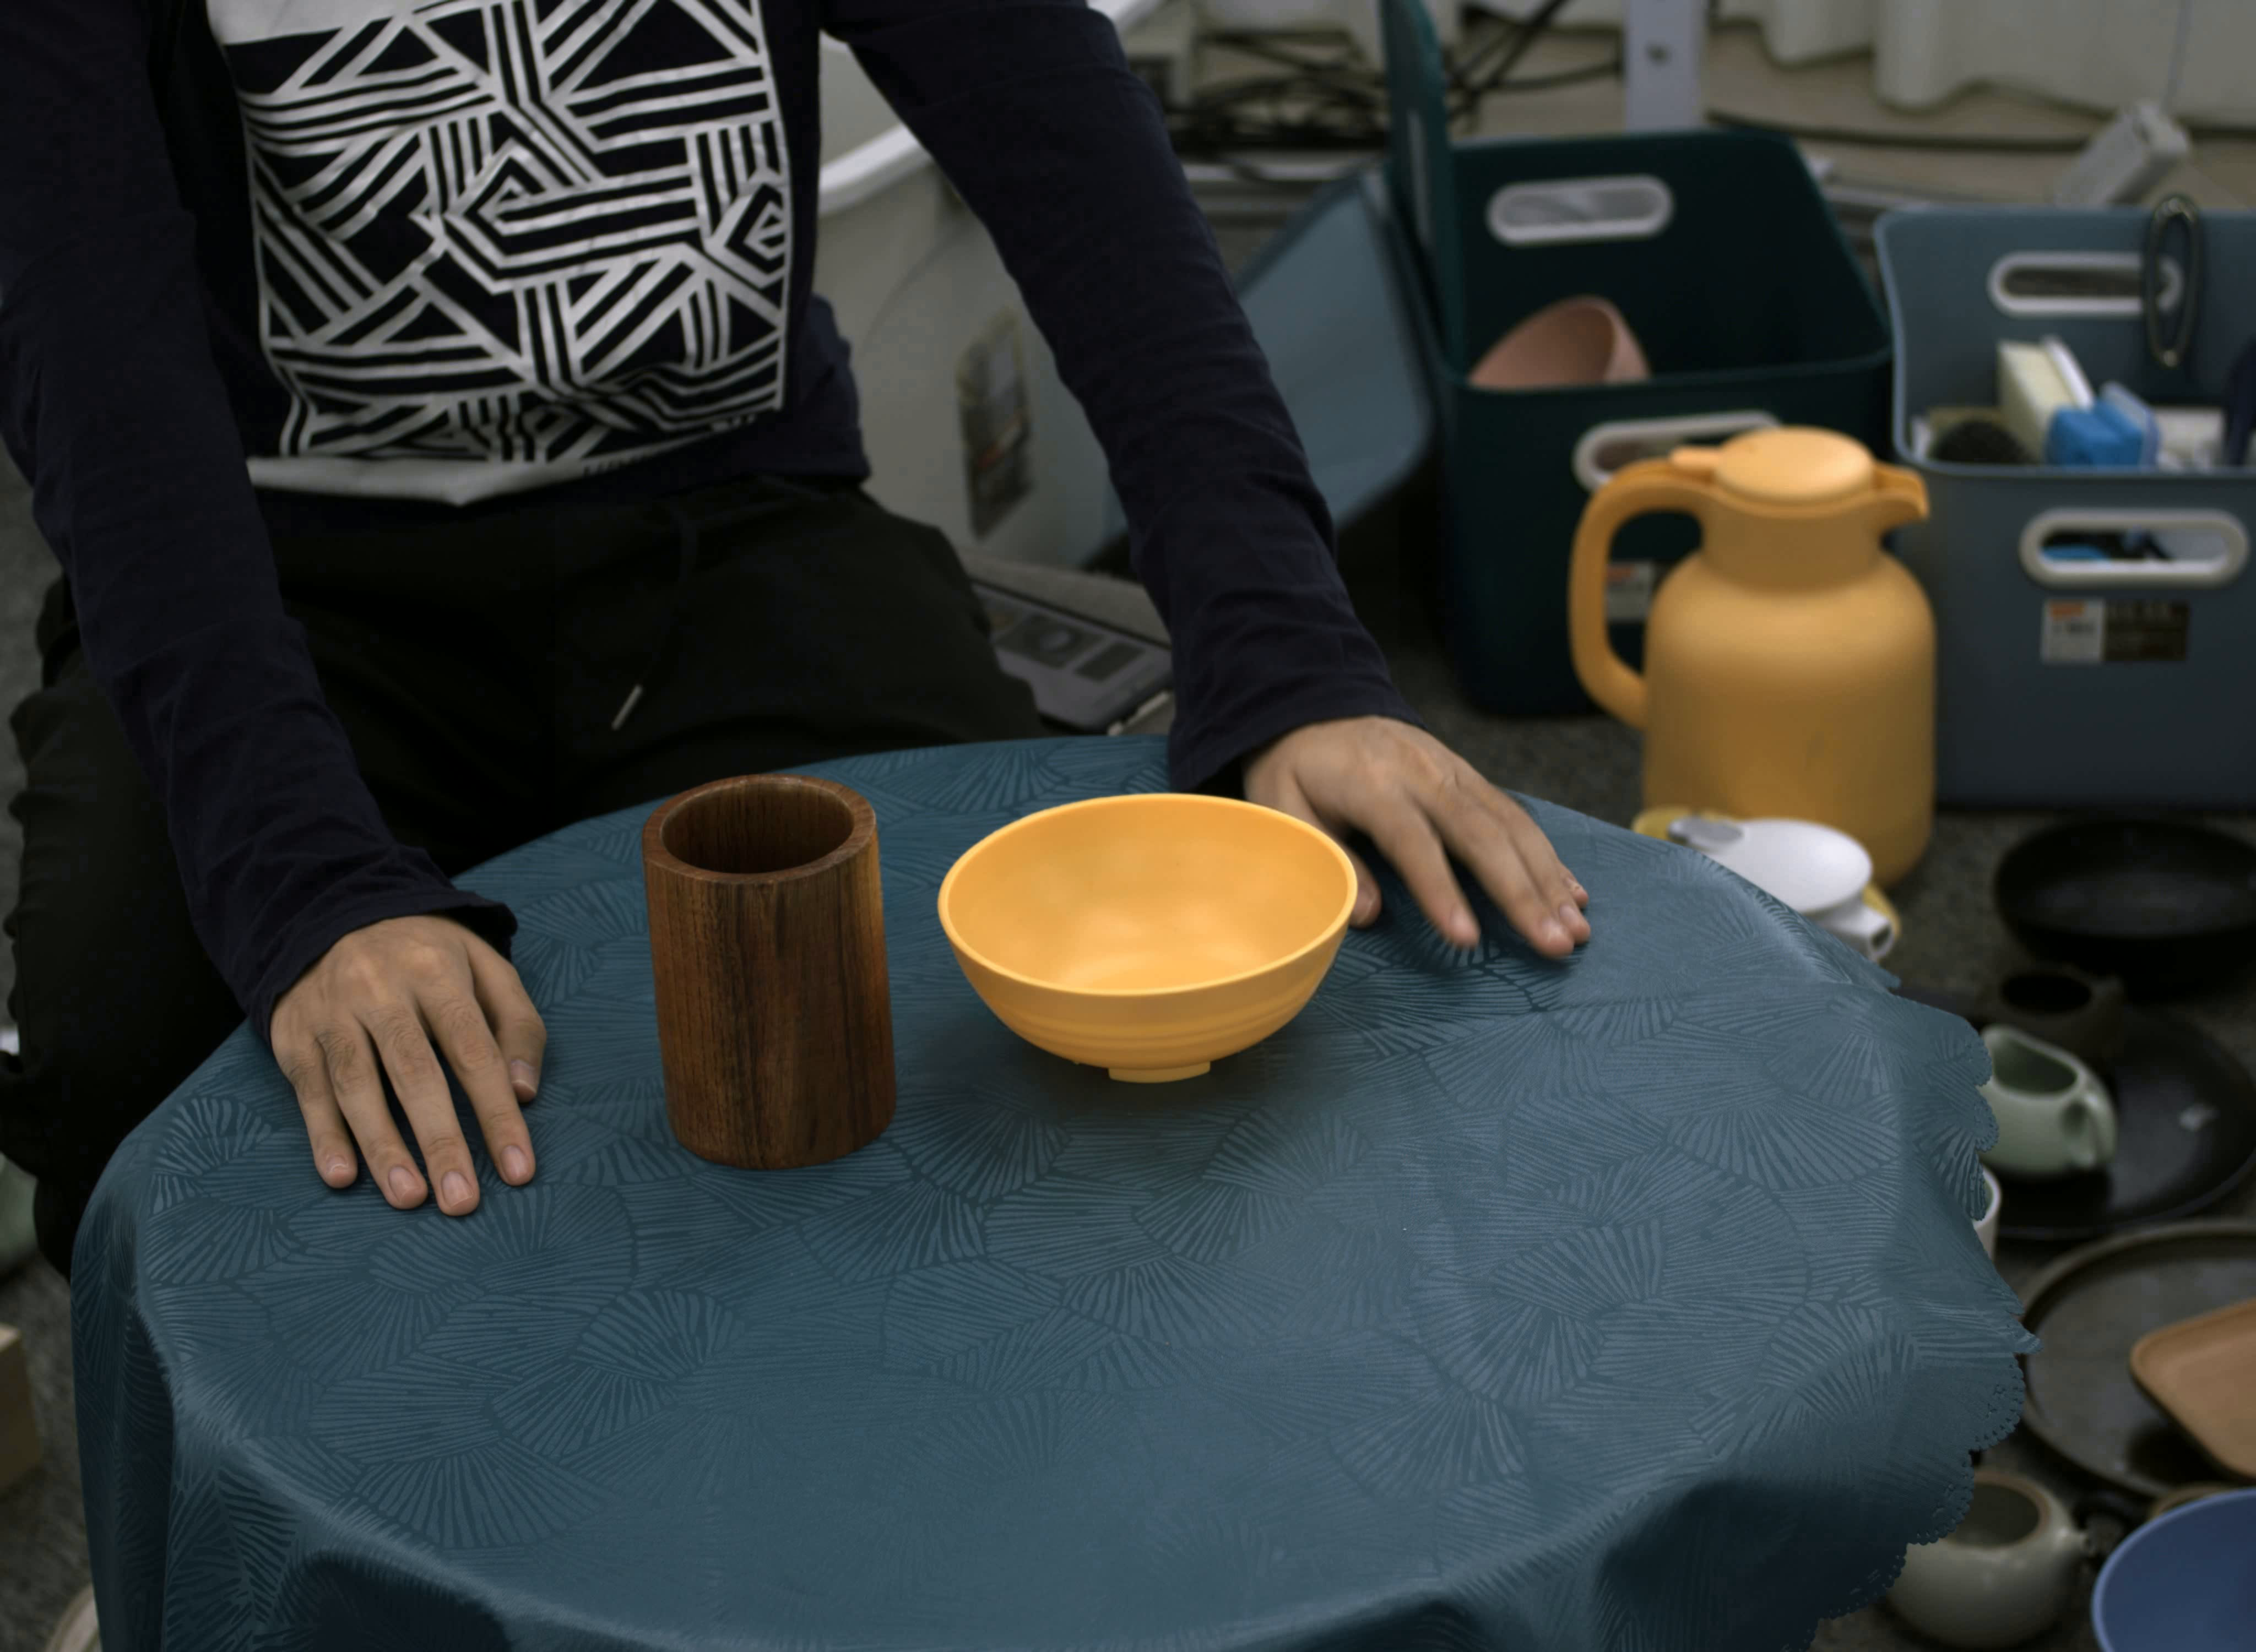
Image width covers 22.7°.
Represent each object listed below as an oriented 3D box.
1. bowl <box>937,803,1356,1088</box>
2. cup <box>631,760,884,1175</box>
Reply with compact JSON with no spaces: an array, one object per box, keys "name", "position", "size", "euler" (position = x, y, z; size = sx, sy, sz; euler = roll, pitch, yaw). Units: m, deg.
[{"name":"bowl","position":[0.007,0.049,1.937],"size":[0.144,0.059,0.147],"euler":[-2,26,1]},{"name":"cup","position":[-0.124,0.047,1.889],"size":[0.087,0.117,0.089],"euler":[1,25,0]}]
